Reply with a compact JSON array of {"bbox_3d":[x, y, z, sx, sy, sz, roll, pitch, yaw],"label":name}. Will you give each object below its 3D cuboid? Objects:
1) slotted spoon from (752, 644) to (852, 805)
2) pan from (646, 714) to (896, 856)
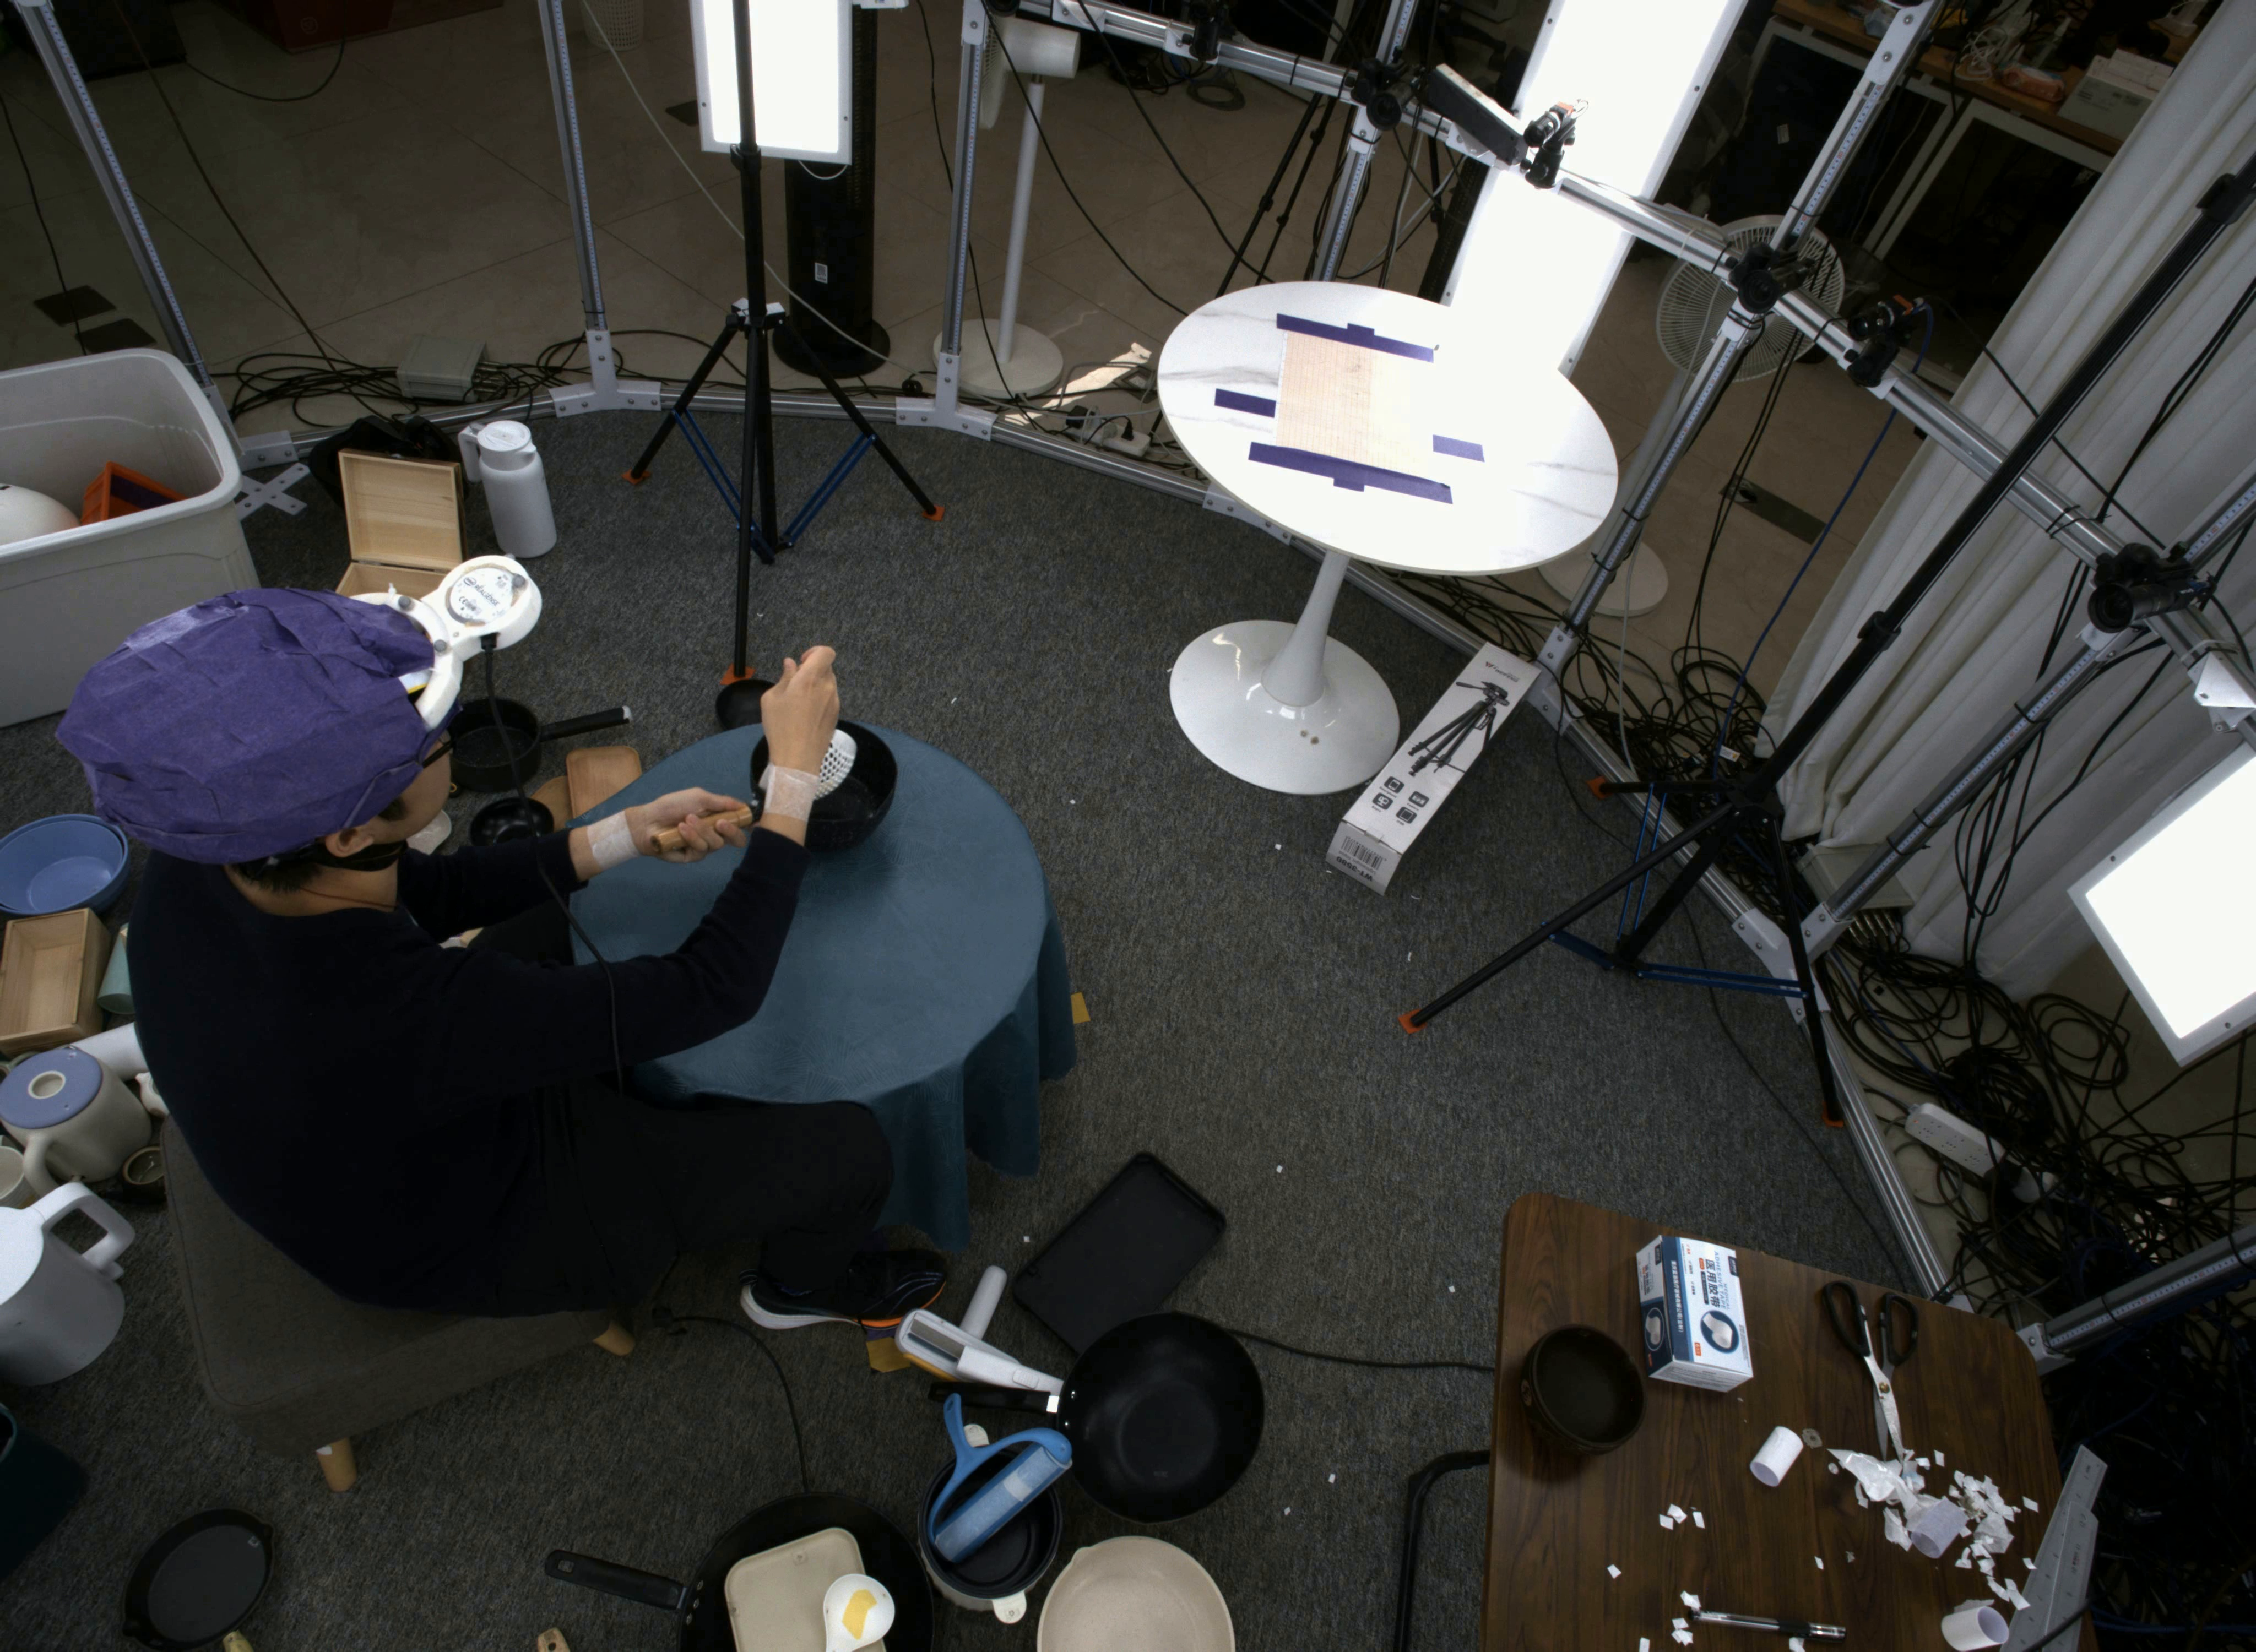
[{"bbox_3d":[-0.380,-0.116,1.518,0.137,0.353,0.049,-27,68,-23],"label":"slotted spoon"},{"bbox_3d":[-0.443,-0.021,1.603,0.203,0.110,0.344,41,47,17],"label":"pan"}]
